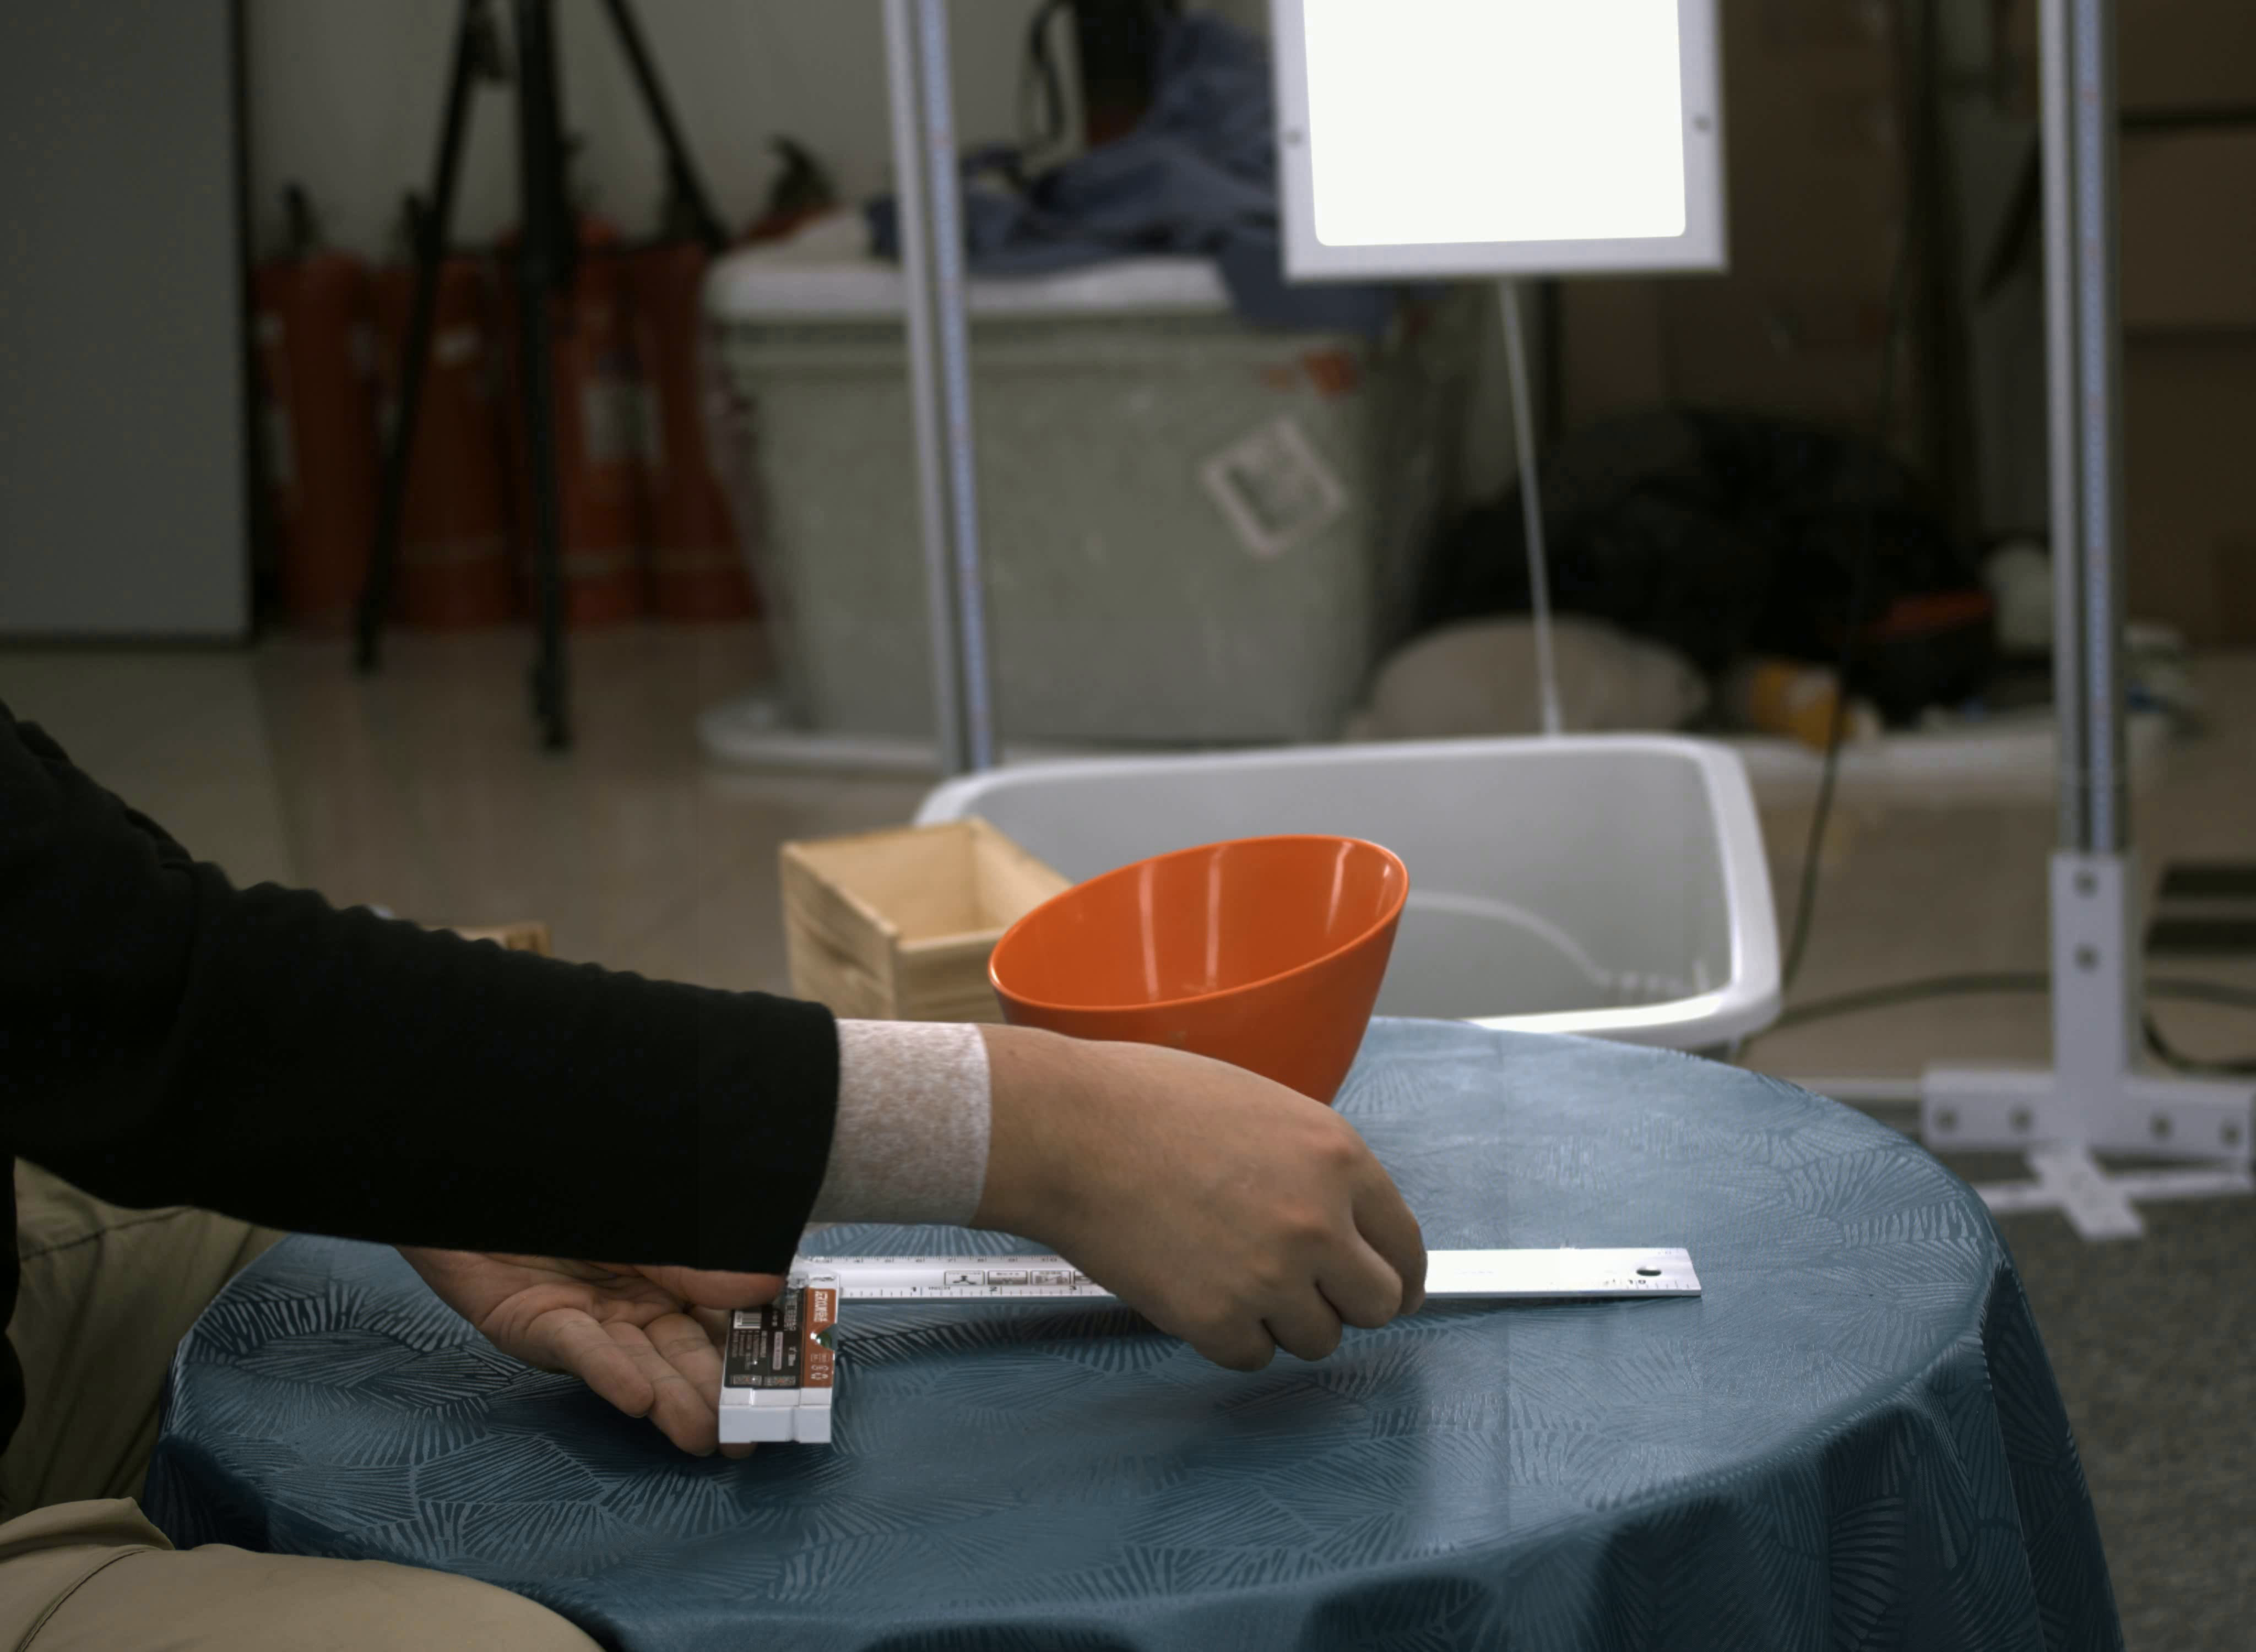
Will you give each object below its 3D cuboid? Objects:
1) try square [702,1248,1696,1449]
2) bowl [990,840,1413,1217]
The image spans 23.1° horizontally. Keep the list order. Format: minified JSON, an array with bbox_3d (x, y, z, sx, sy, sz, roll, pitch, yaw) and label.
[{"bbox_3d":[0.027,0.159,1.712,0.312,0.016,0.152,0,16,1],"label":"try square"},{"bbox_3d":[0.029,0.073,1.896,0.147,0.105,0.148,-5,15,0],"label":"bowl"}]
